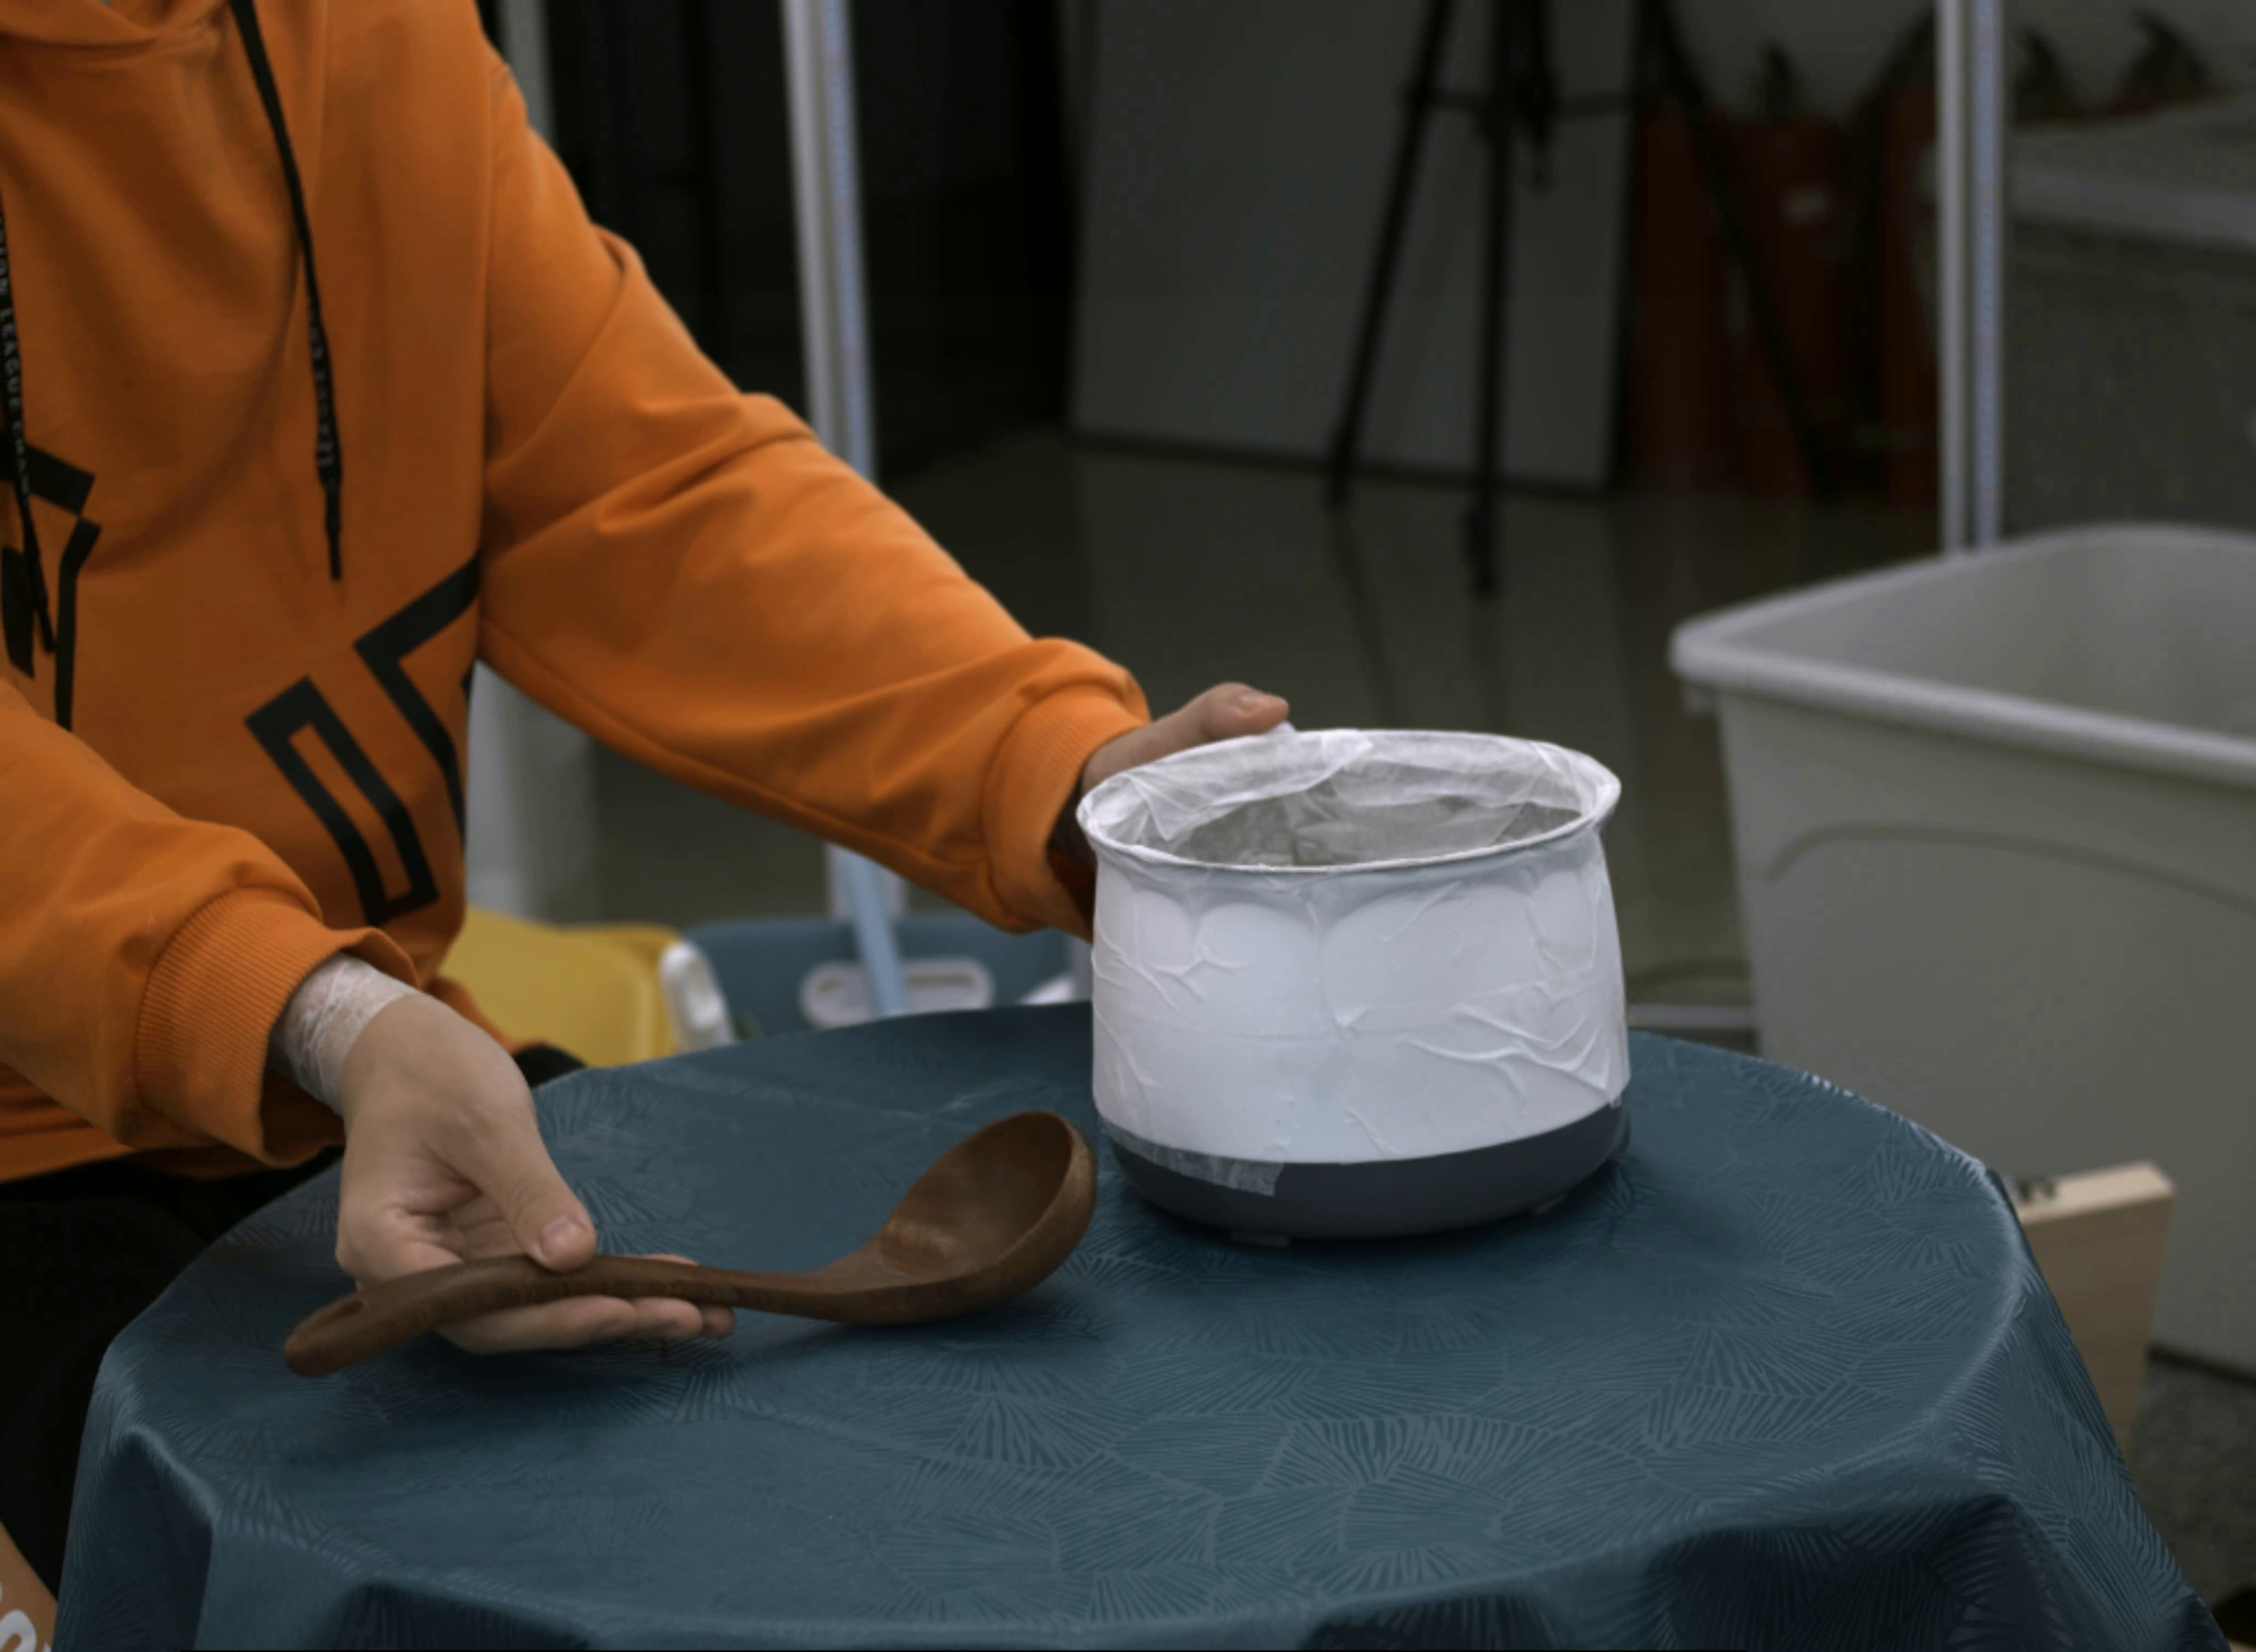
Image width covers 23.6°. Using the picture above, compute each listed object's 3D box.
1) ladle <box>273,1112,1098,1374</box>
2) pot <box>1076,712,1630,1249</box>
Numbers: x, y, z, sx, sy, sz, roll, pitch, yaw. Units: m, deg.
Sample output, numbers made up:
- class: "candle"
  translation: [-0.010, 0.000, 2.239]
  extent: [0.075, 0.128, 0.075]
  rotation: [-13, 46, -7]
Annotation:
- class: "ladle"
  translation: [-0.131, 0.124, 1.627]
  extent: [0.254, 0.066, 0.077]
  rotation: [-2, 8, -22]
- class: "pot"
  translation: [0.067, 0.045, 1.773]
  extent: [0.175, 0.138, 0.235]
  rotation: [-7, 14, -12]
